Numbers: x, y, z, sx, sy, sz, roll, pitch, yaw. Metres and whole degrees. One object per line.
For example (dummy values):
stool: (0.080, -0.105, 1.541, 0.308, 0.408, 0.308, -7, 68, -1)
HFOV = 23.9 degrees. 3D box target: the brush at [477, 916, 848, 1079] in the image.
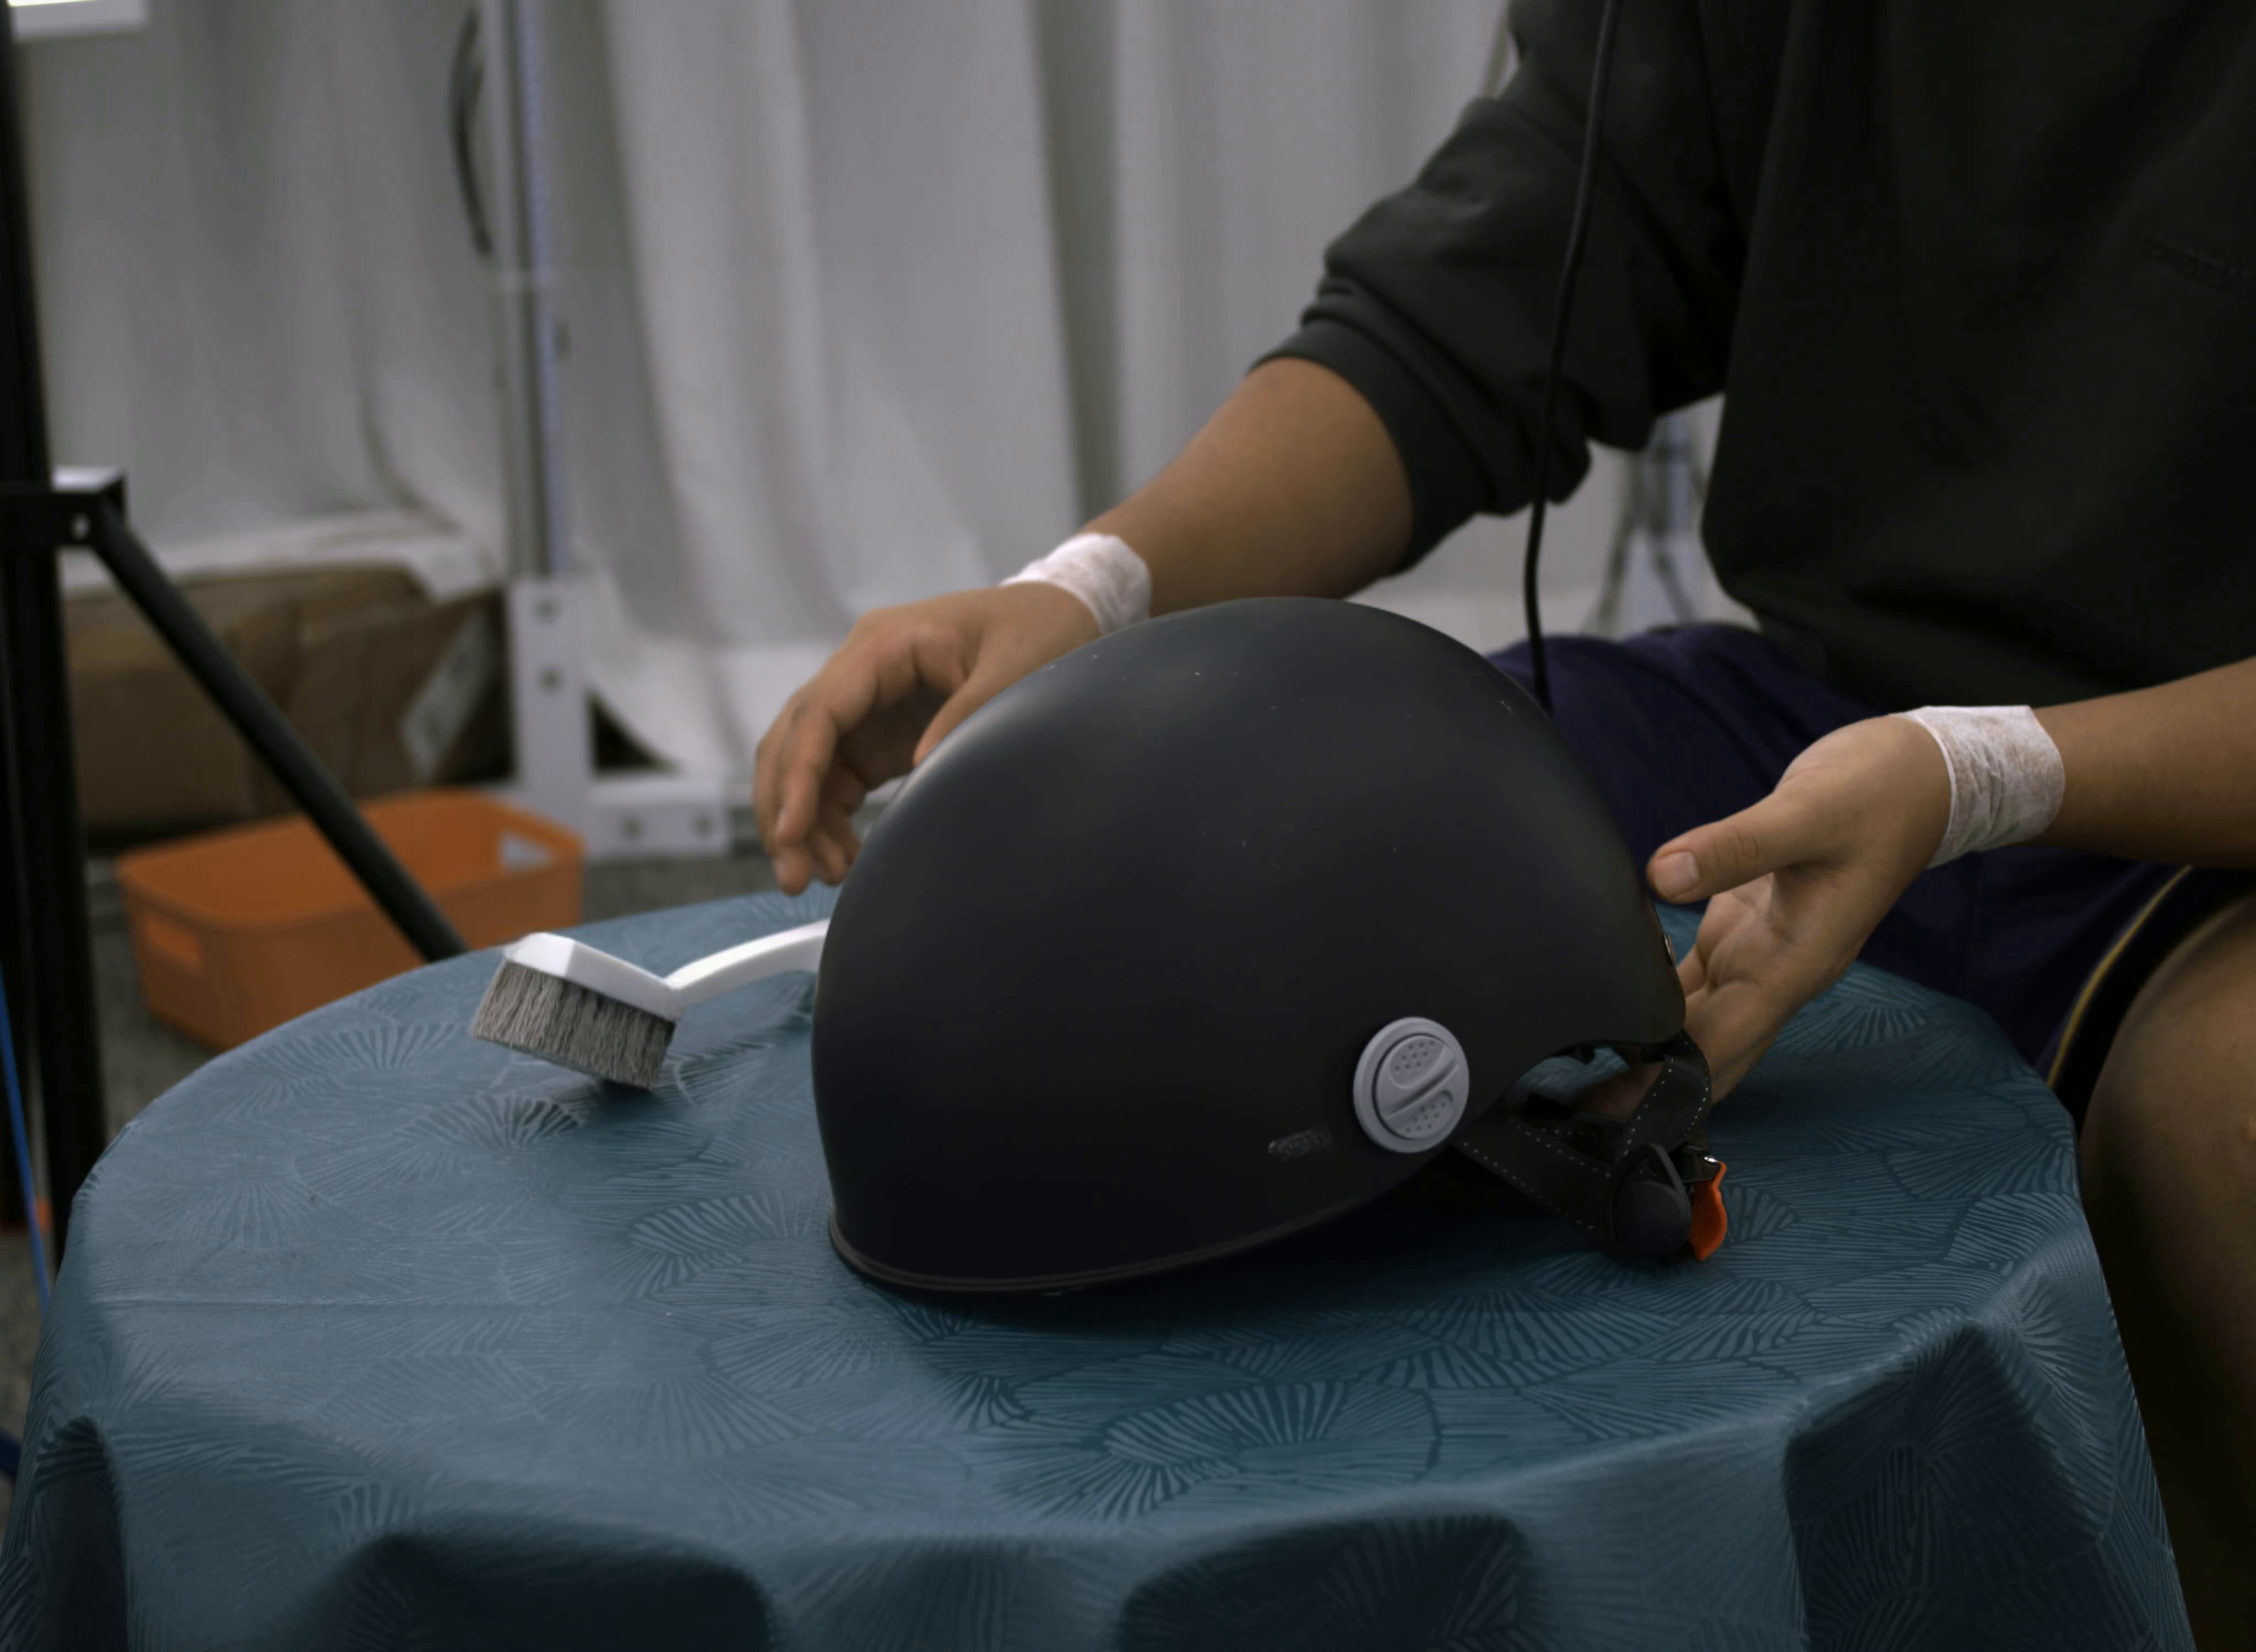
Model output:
brush: (-0.116, 0.054, 1.728, 0.035, 0.050, 0.237, 6, 4, 39)

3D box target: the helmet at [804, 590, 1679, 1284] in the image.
helmet: (0.024, 0.022, 1.545, 0.267, 0.167, 0.235, -20, 14, -37)
